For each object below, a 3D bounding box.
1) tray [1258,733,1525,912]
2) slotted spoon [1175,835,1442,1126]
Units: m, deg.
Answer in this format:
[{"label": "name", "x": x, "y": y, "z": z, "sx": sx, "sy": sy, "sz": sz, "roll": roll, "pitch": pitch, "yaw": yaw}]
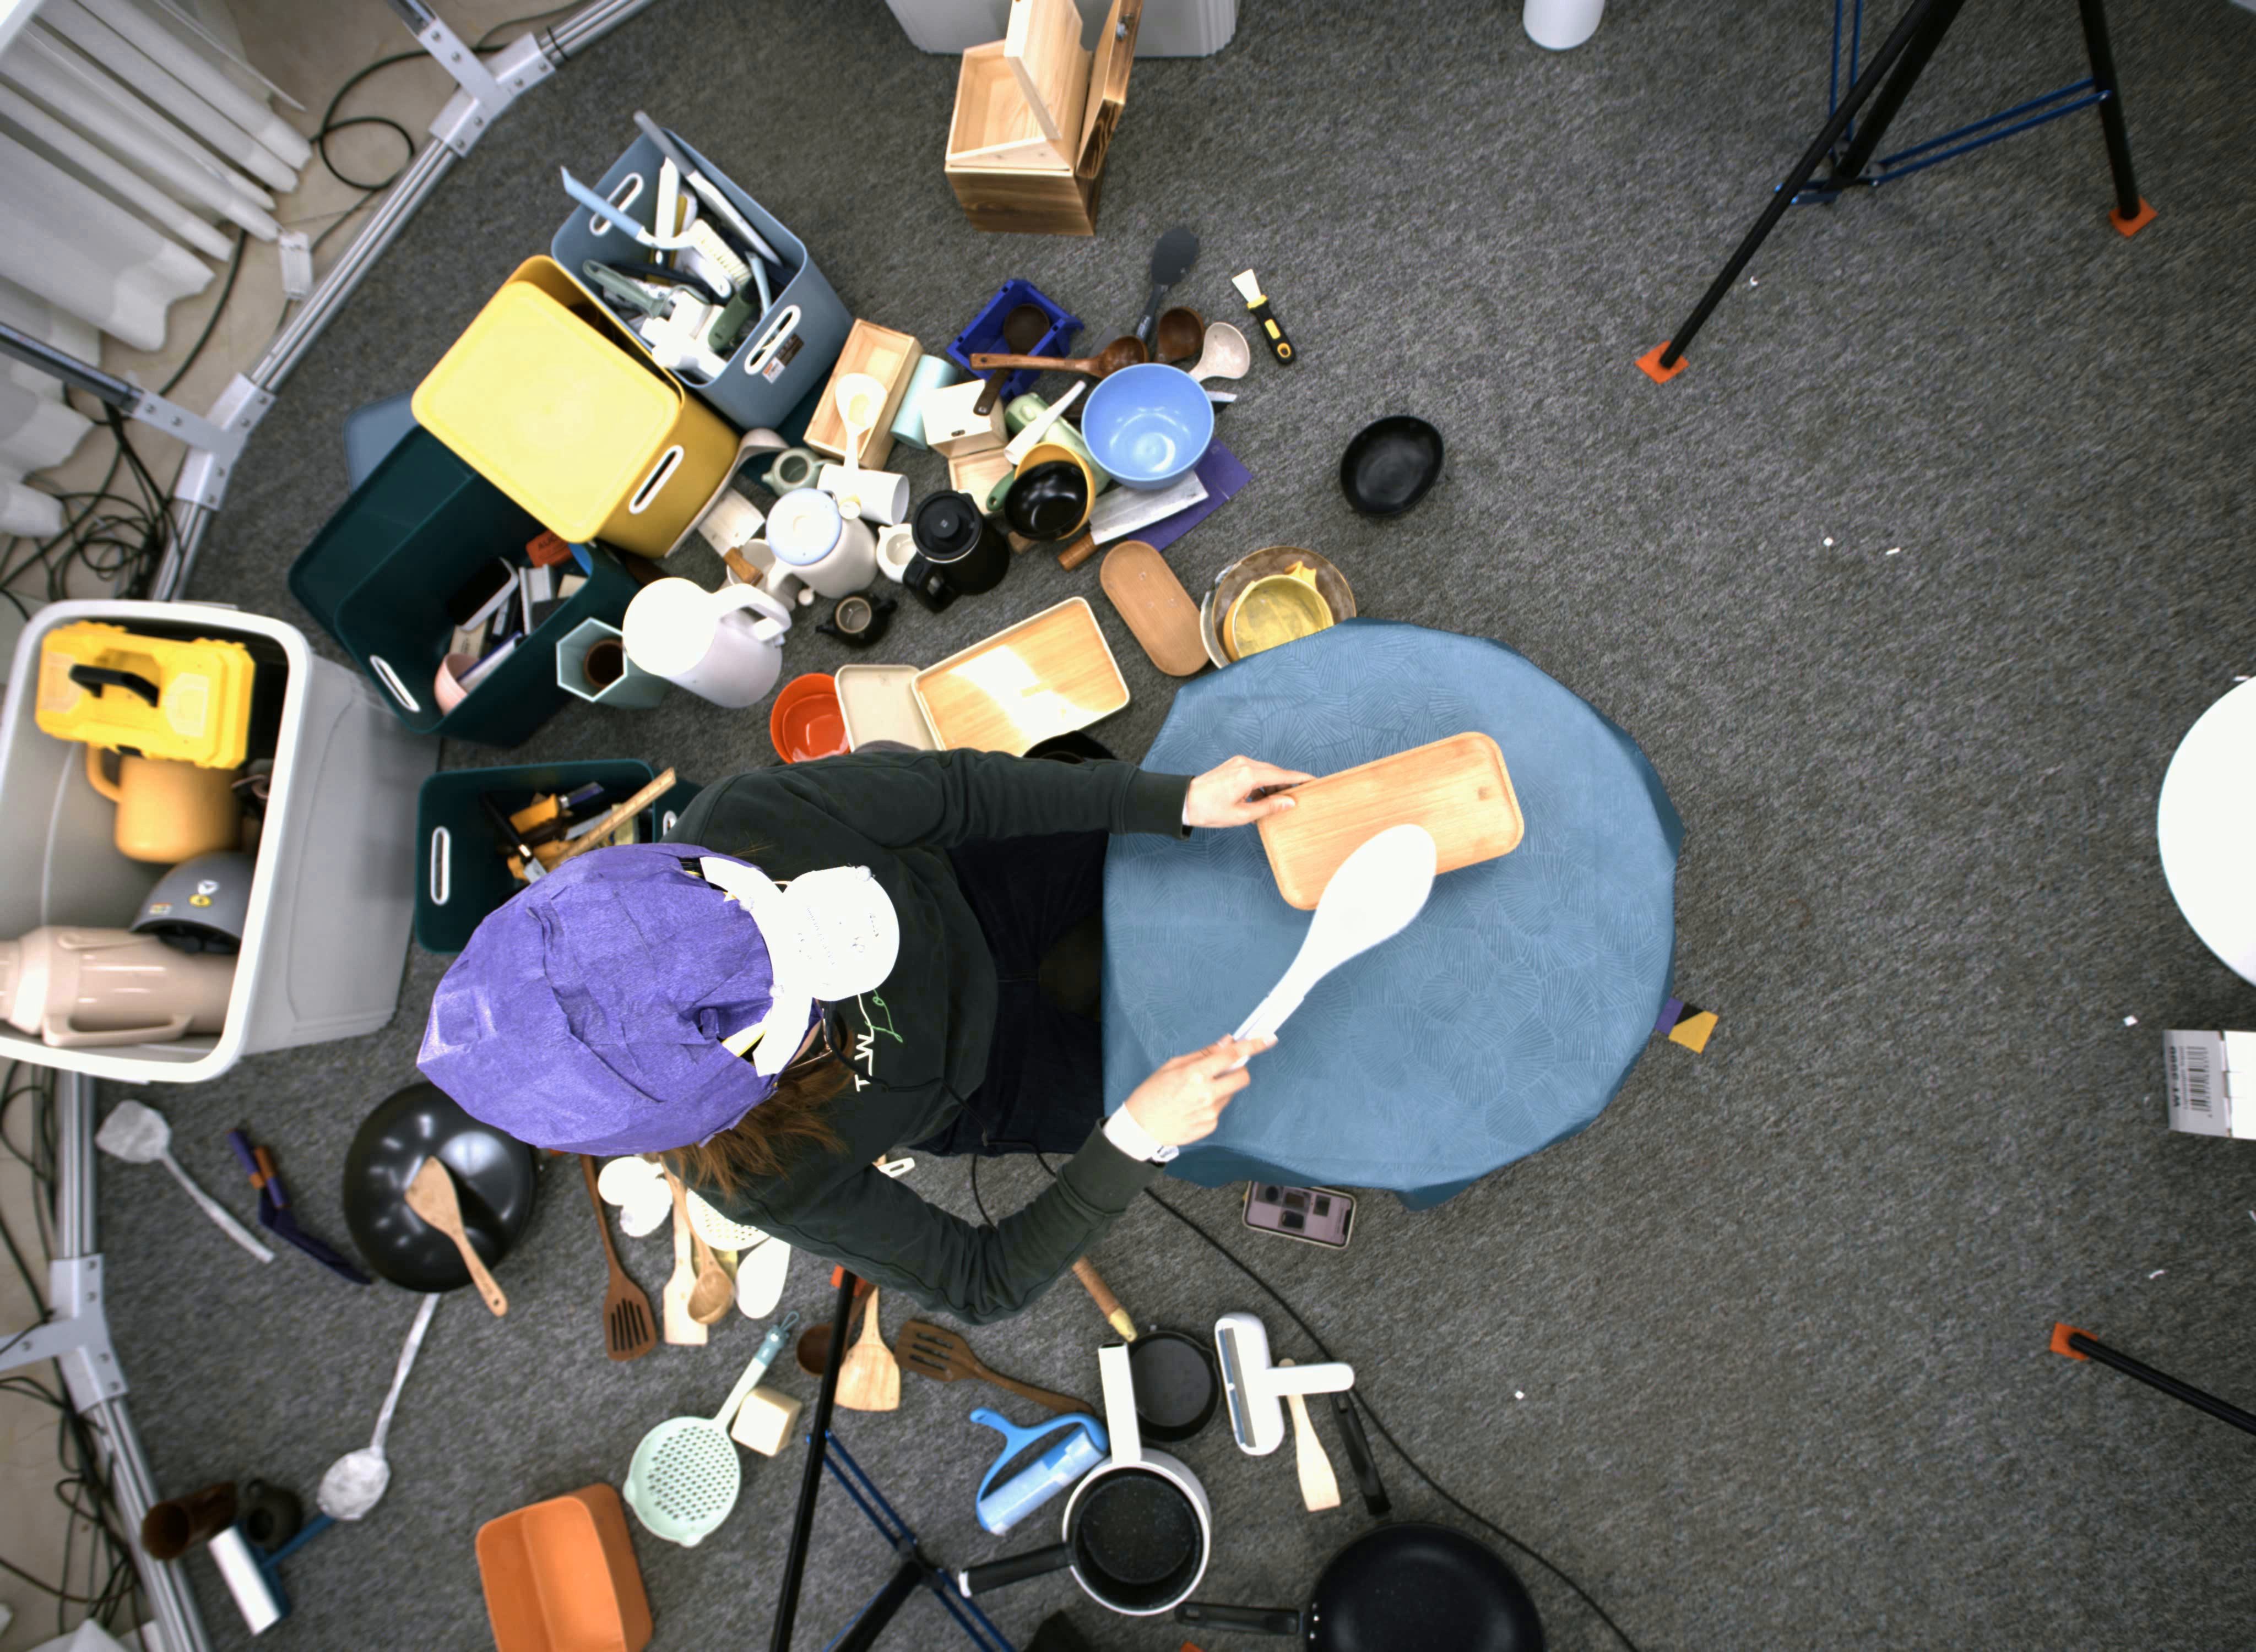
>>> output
[{"label": "tray", "x": 0.260, "y": -0.003, "z": 1.373, "sx": 0.253, "sy": 0.022, "sz": 0.131, "roll": -17, "pitch": 99, "yaw": 18}, {"label": "slotted spoon", "x": 0.167, "y": 0.143, "z": 1.281, "sx": 0.350, "sy": 0.135, "sz": 0.046, "roll": -43, "pitch": 105, "yaw": 0}]
